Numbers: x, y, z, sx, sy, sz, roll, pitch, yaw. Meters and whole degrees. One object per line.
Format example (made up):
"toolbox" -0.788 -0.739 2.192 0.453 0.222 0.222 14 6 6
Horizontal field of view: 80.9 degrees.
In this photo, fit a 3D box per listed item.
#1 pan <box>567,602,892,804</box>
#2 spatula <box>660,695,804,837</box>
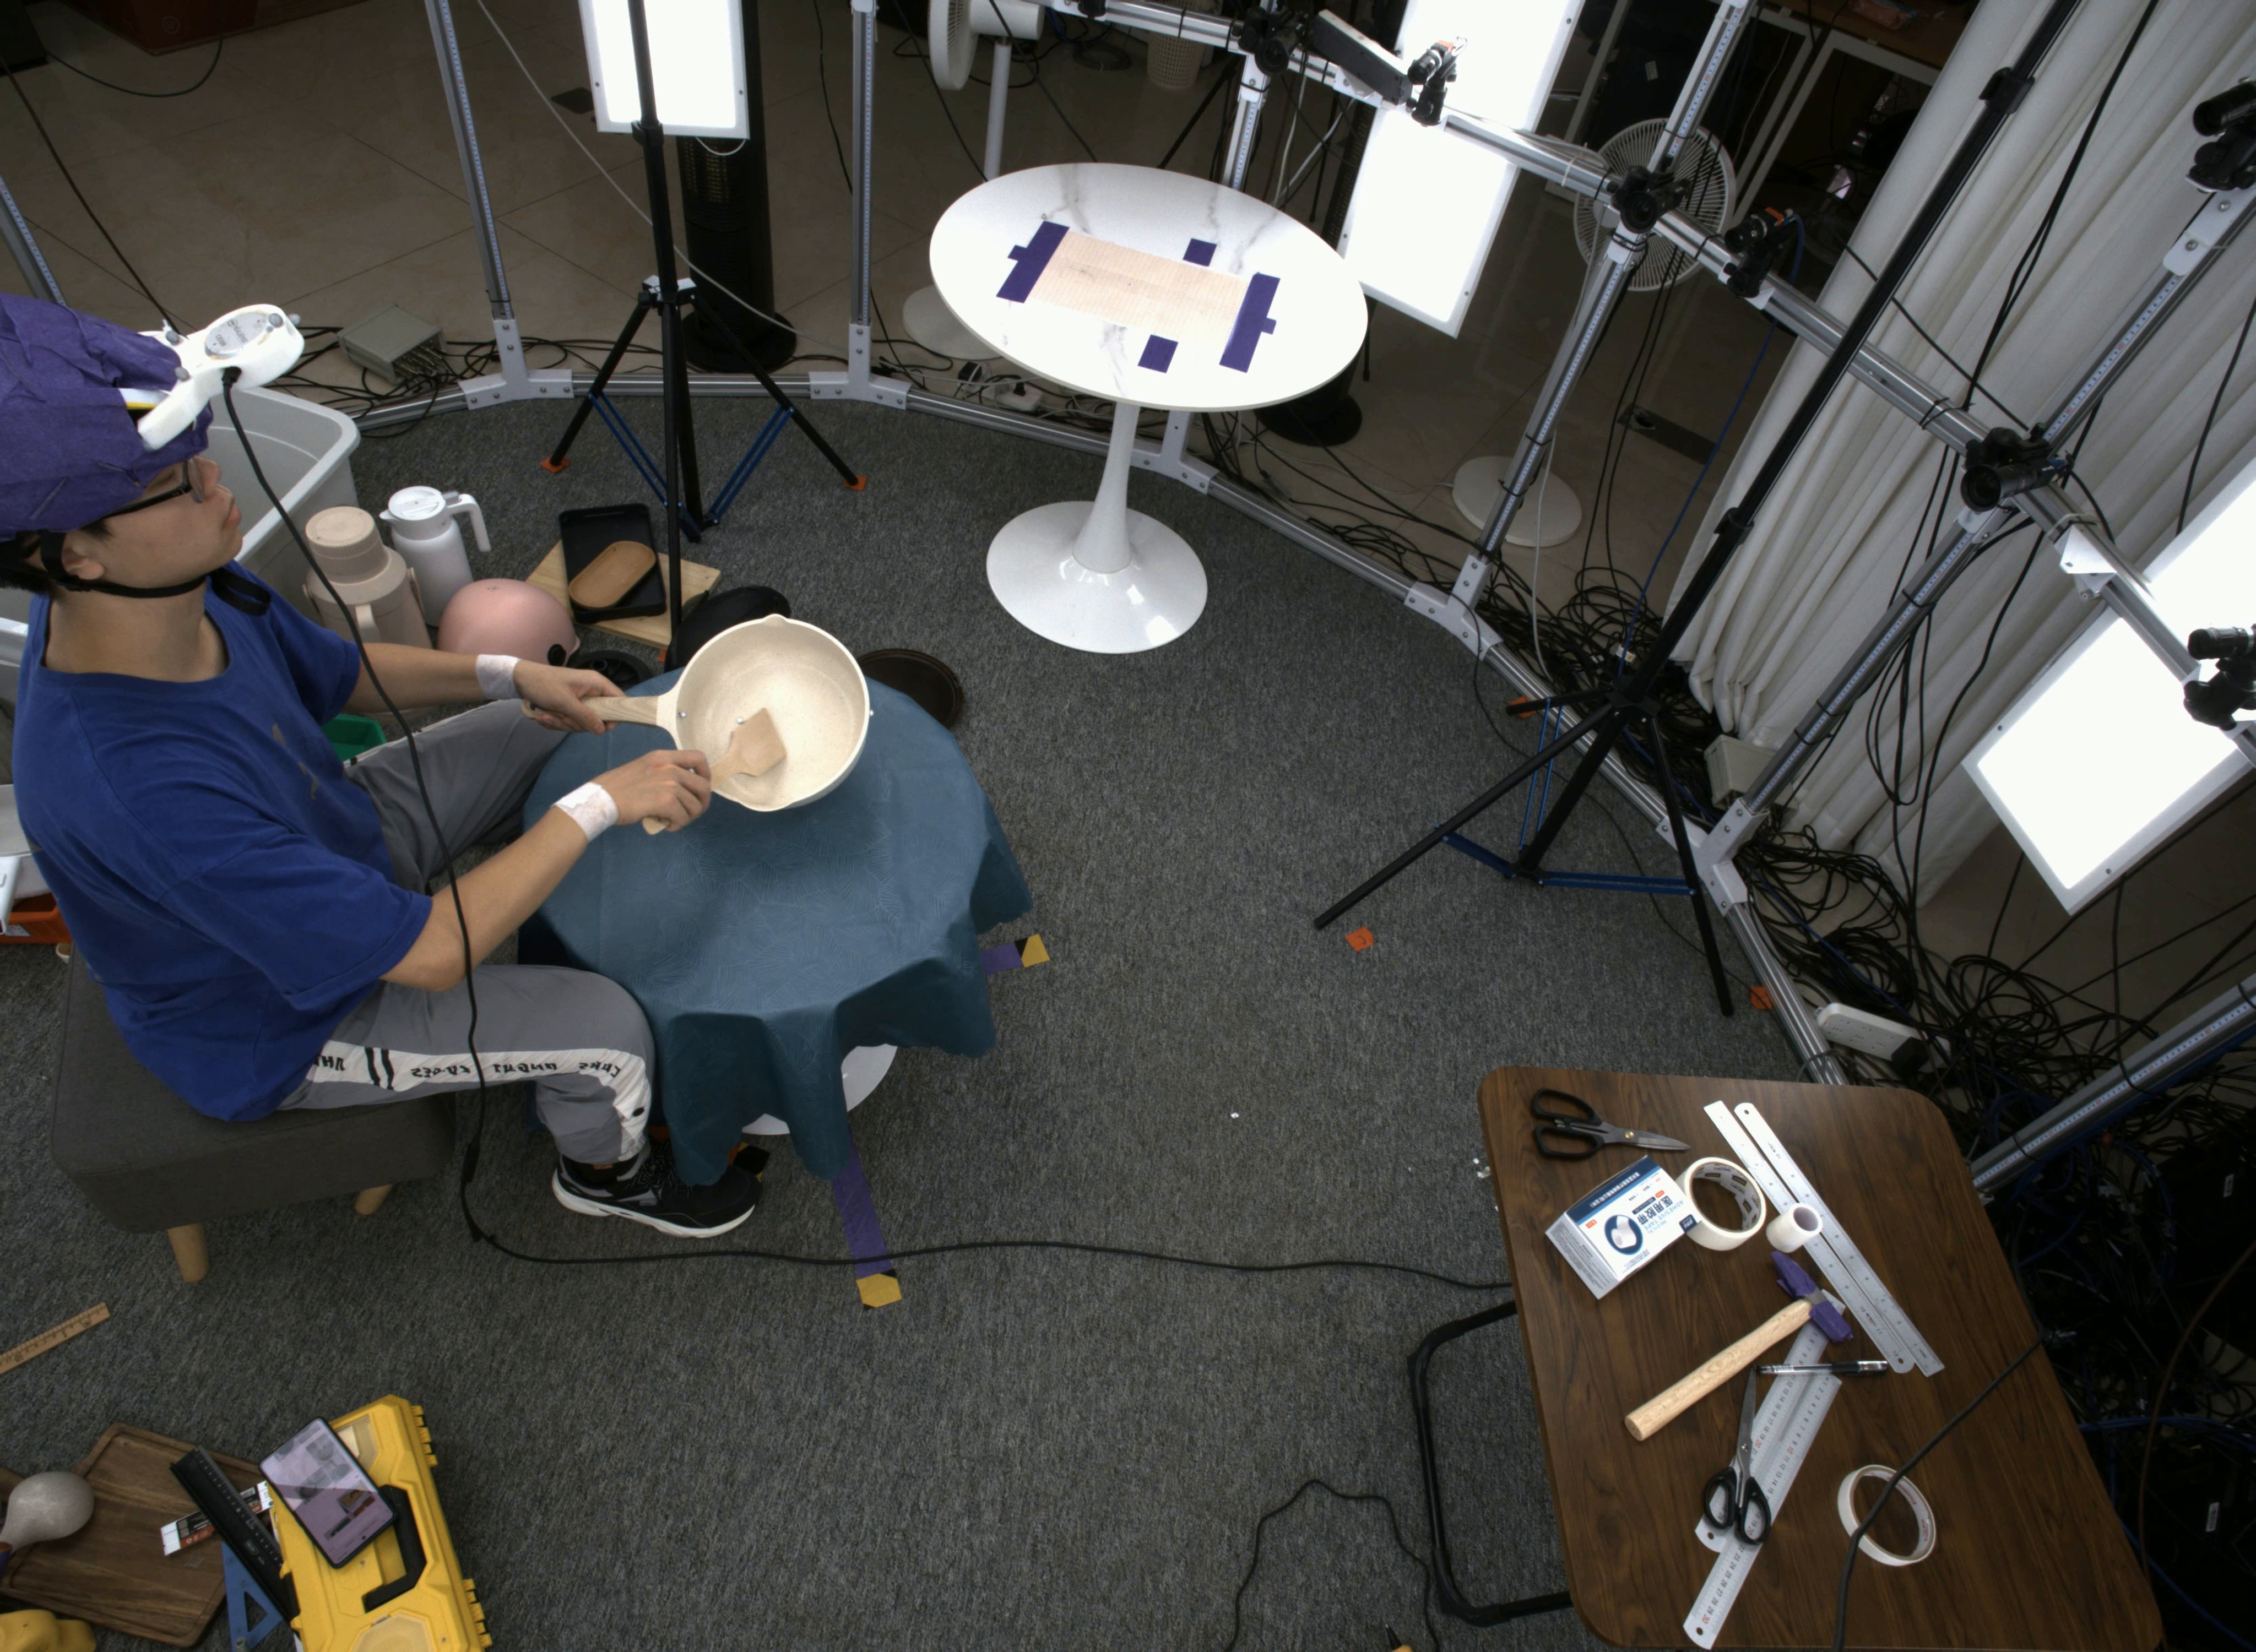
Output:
"pan" -0.519 -0.151 1.681 0.431 0.102 0.264 -1 81 -4
"spatula" -0.484 -0.072 1.582 0.010 0.075 0.291 -6 28 24
